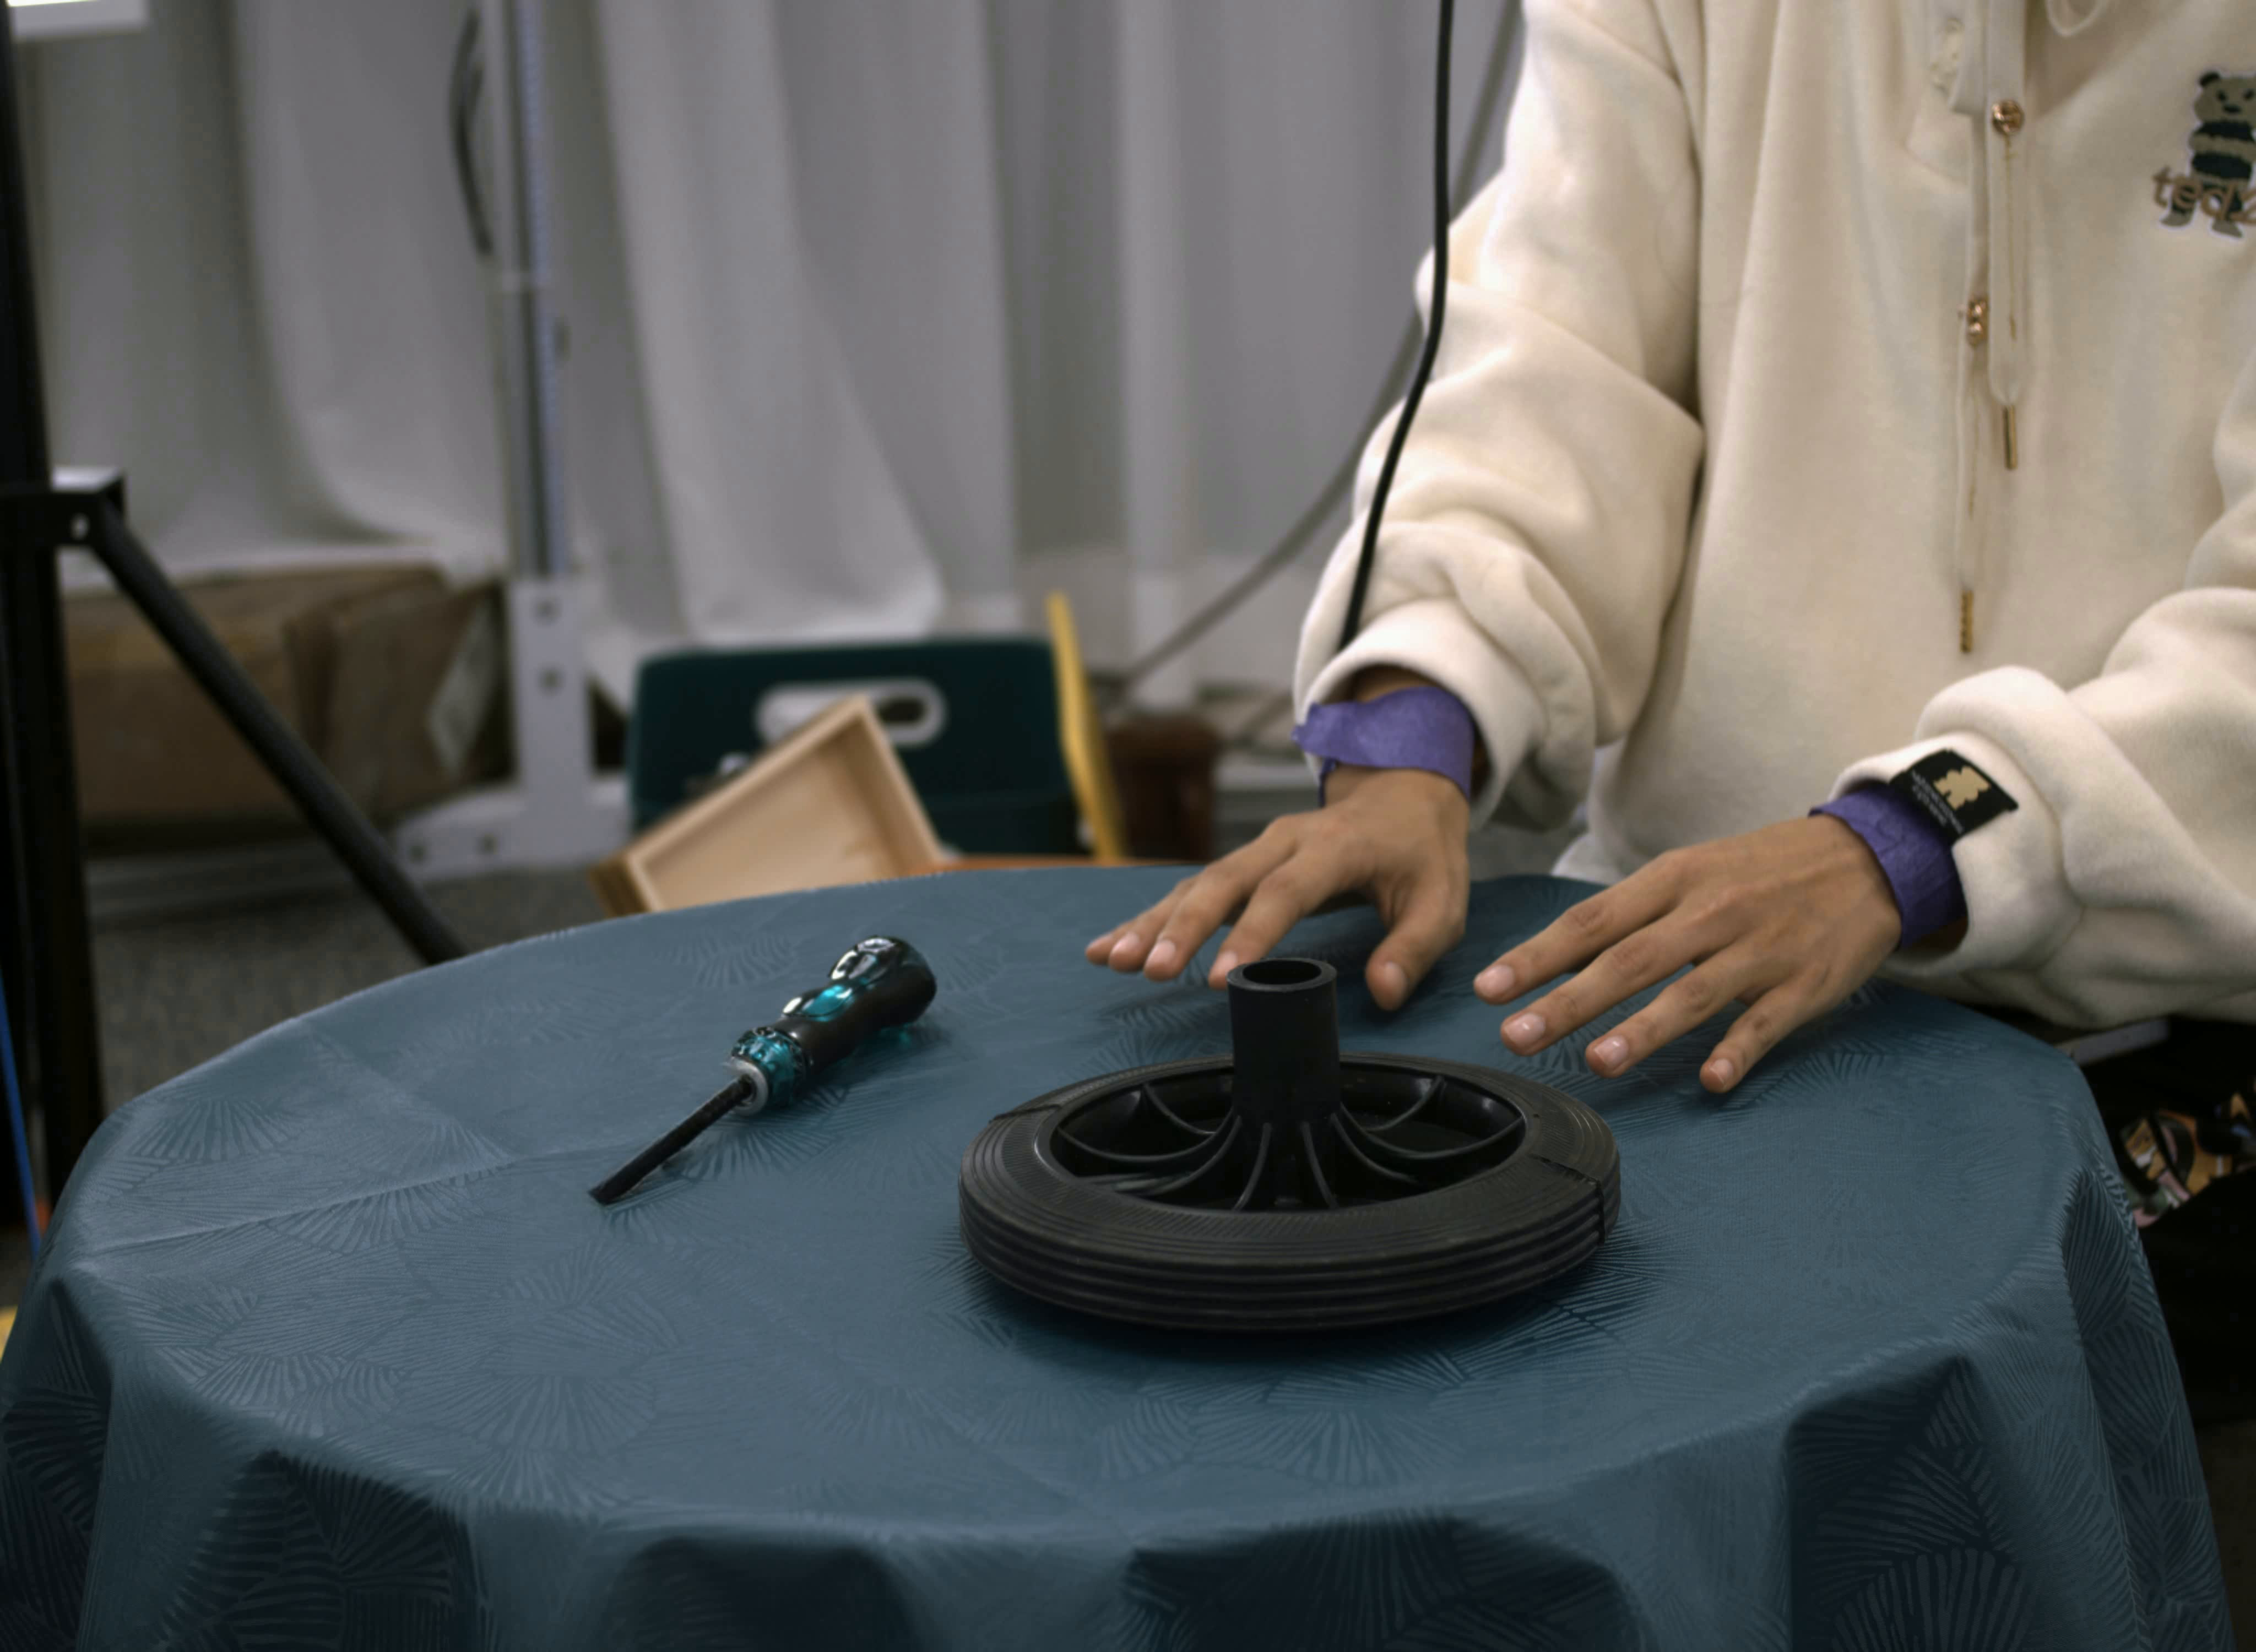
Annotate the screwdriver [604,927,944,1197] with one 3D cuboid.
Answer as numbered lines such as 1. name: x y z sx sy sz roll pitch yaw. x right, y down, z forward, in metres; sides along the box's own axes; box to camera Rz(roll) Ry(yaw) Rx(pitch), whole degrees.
1. screwdriver: -0.111 0.076 1.650 0.034 0.033 0.187 6 23 27

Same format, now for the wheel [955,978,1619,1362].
1. wheel: 0.043 0.086 1.494 0.186 0.079 0.191 -15 20 -26
